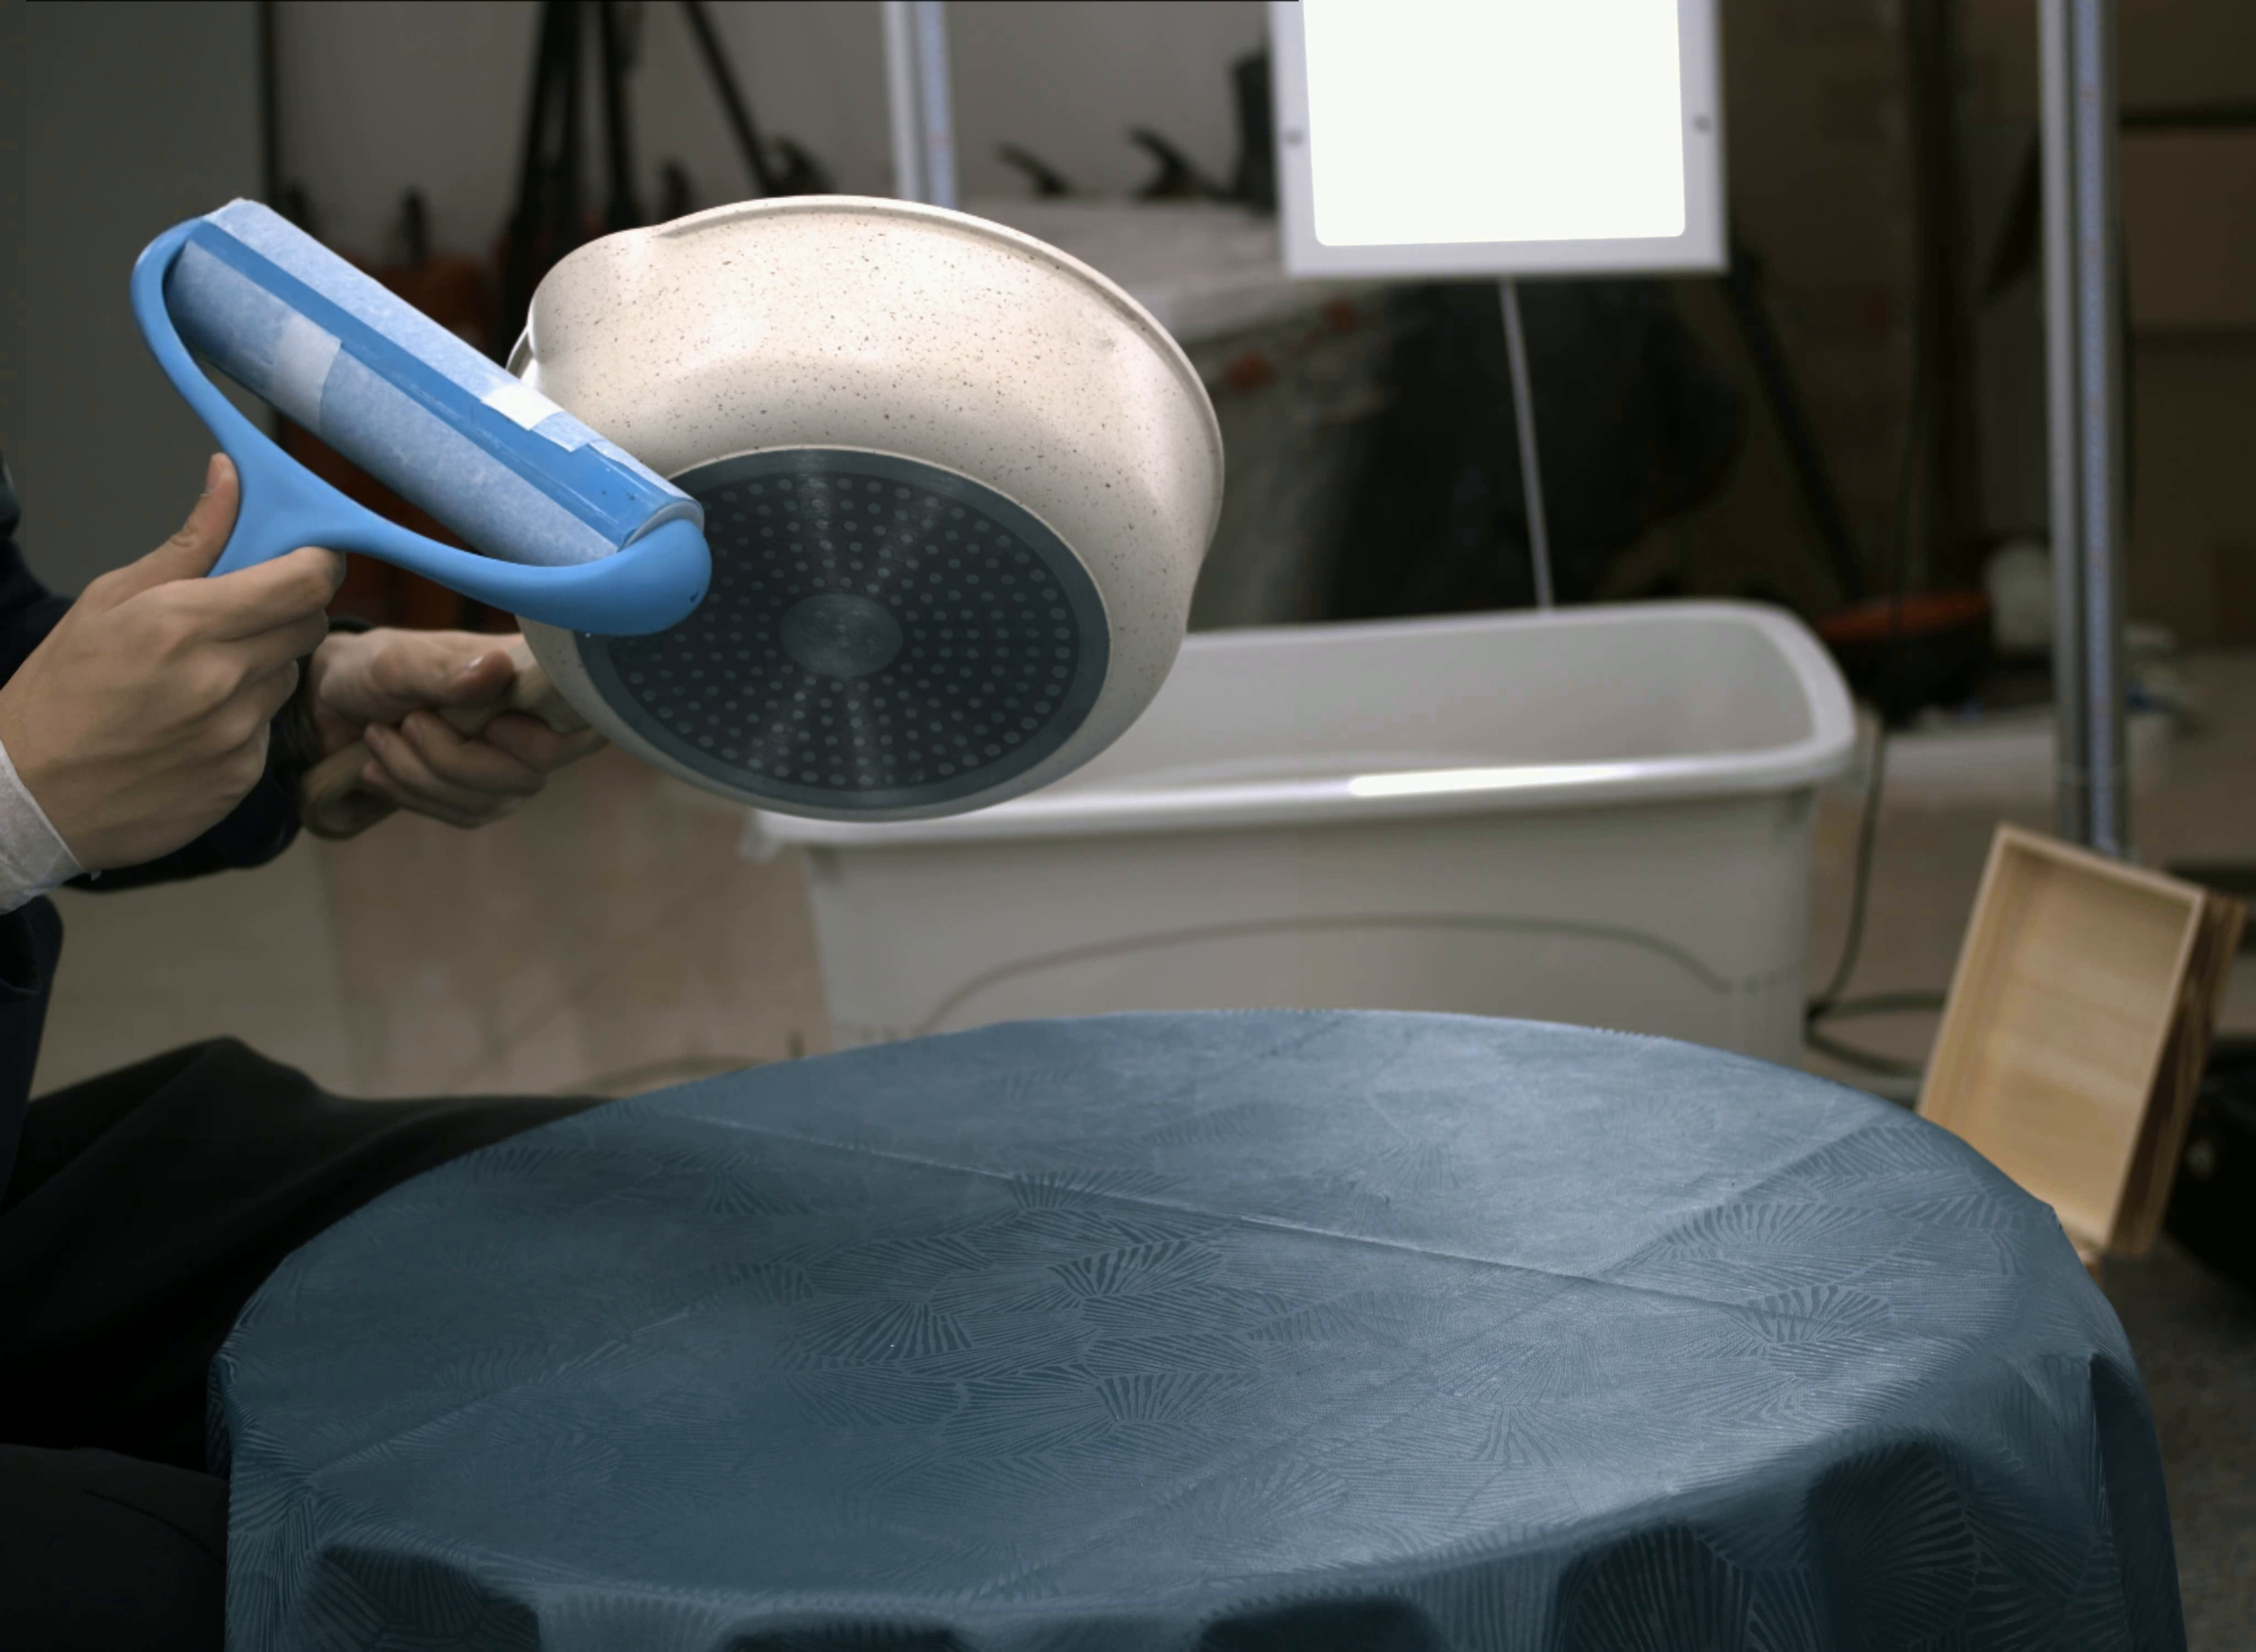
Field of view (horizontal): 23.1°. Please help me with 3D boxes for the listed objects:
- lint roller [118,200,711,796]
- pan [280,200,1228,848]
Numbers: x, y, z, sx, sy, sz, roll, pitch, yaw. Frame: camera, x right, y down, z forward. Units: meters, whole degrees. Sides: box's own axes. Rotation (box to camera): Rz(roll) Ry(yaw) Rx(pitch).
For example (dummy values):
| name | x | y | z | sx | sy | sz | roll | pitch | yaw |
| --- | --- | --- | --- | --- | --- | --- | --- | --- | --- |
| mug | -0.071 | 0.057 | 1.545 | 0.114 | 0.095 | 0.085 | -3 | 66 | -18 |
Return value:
| name | x | y | z | sx | sy | sz | roll | pitch | yaw |
| --- | --- | --- | --- | --- | --- | --- | --- | --- | --- |
| lint roller | -0.263 | -0.089 | 1.774 | 0.231 | 0.068 | 0.178 | 33 | 73 | 18 |
| pan | -0.156 | -0.060 | 1.923 | 0.444 | 0.259 | 0.101 | -31 | 40 | 36 |
